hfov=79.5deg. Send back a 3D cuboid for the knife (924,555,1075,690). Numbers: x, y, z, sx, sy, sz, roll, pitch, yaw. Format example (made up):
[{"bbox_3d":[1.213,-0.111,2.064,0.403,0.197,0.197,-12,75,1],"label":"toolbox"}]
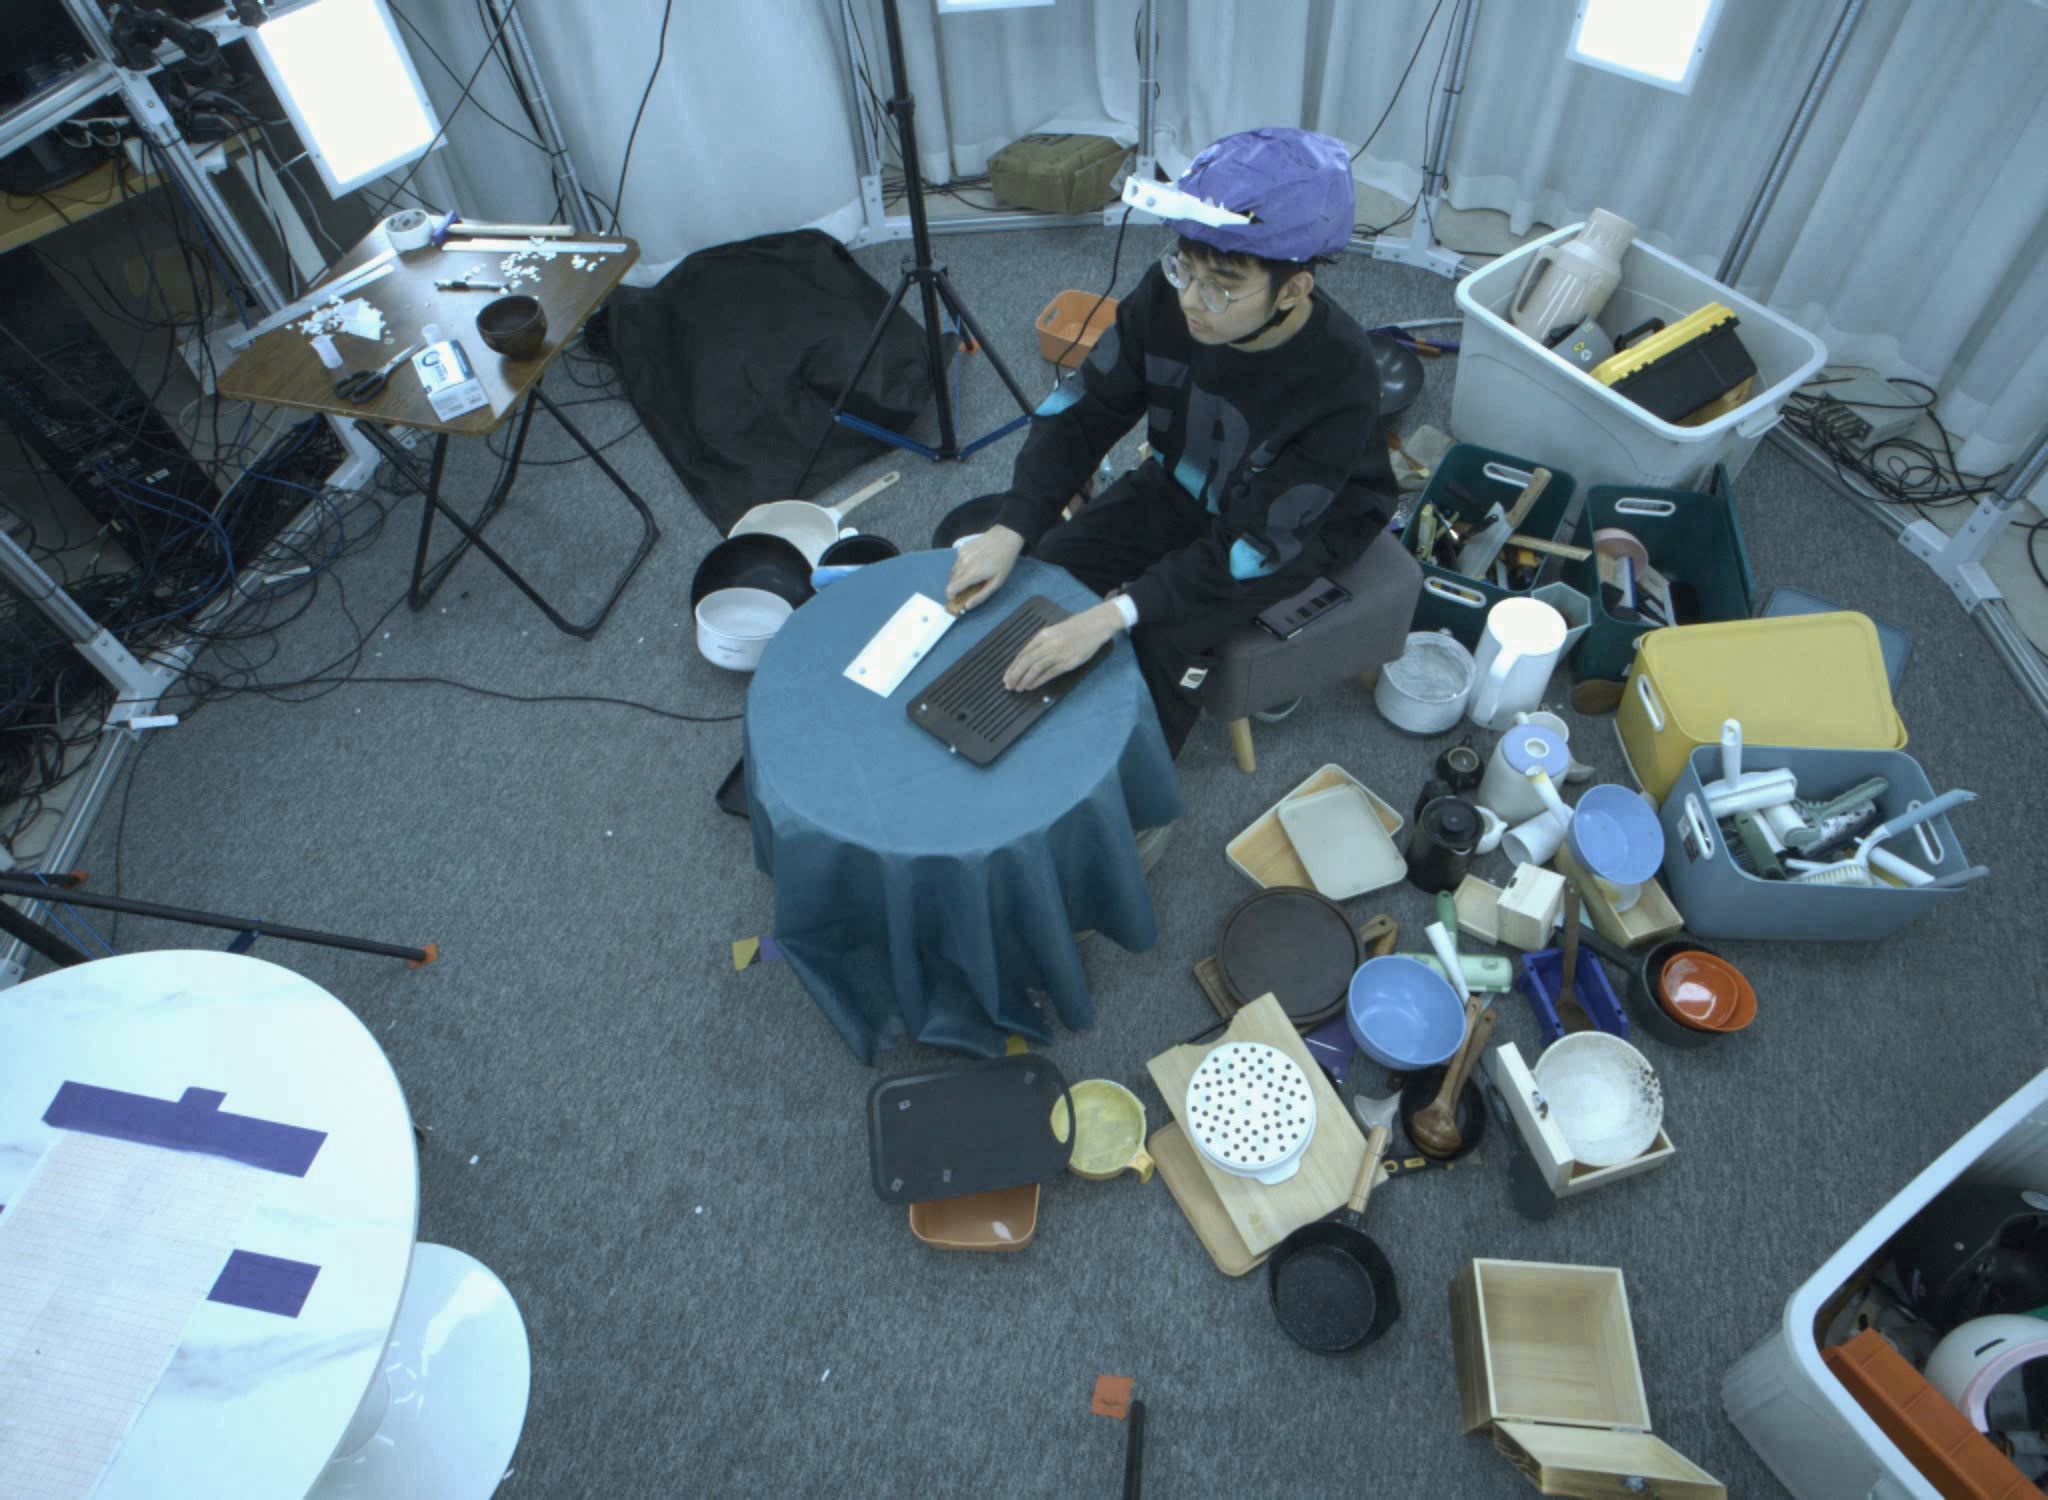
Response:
[{"bbox_3d":[-0.042,-0.213,1.925,0.091,0.021,0.307,32,66,23],"label":"knife"}]

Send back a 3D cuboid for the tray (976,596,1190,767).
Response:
[{"bbox_3d":[0.090,-0.107,1.848,0.308,0.019,0.167,-39,62,-22],"label":"tray"}]
